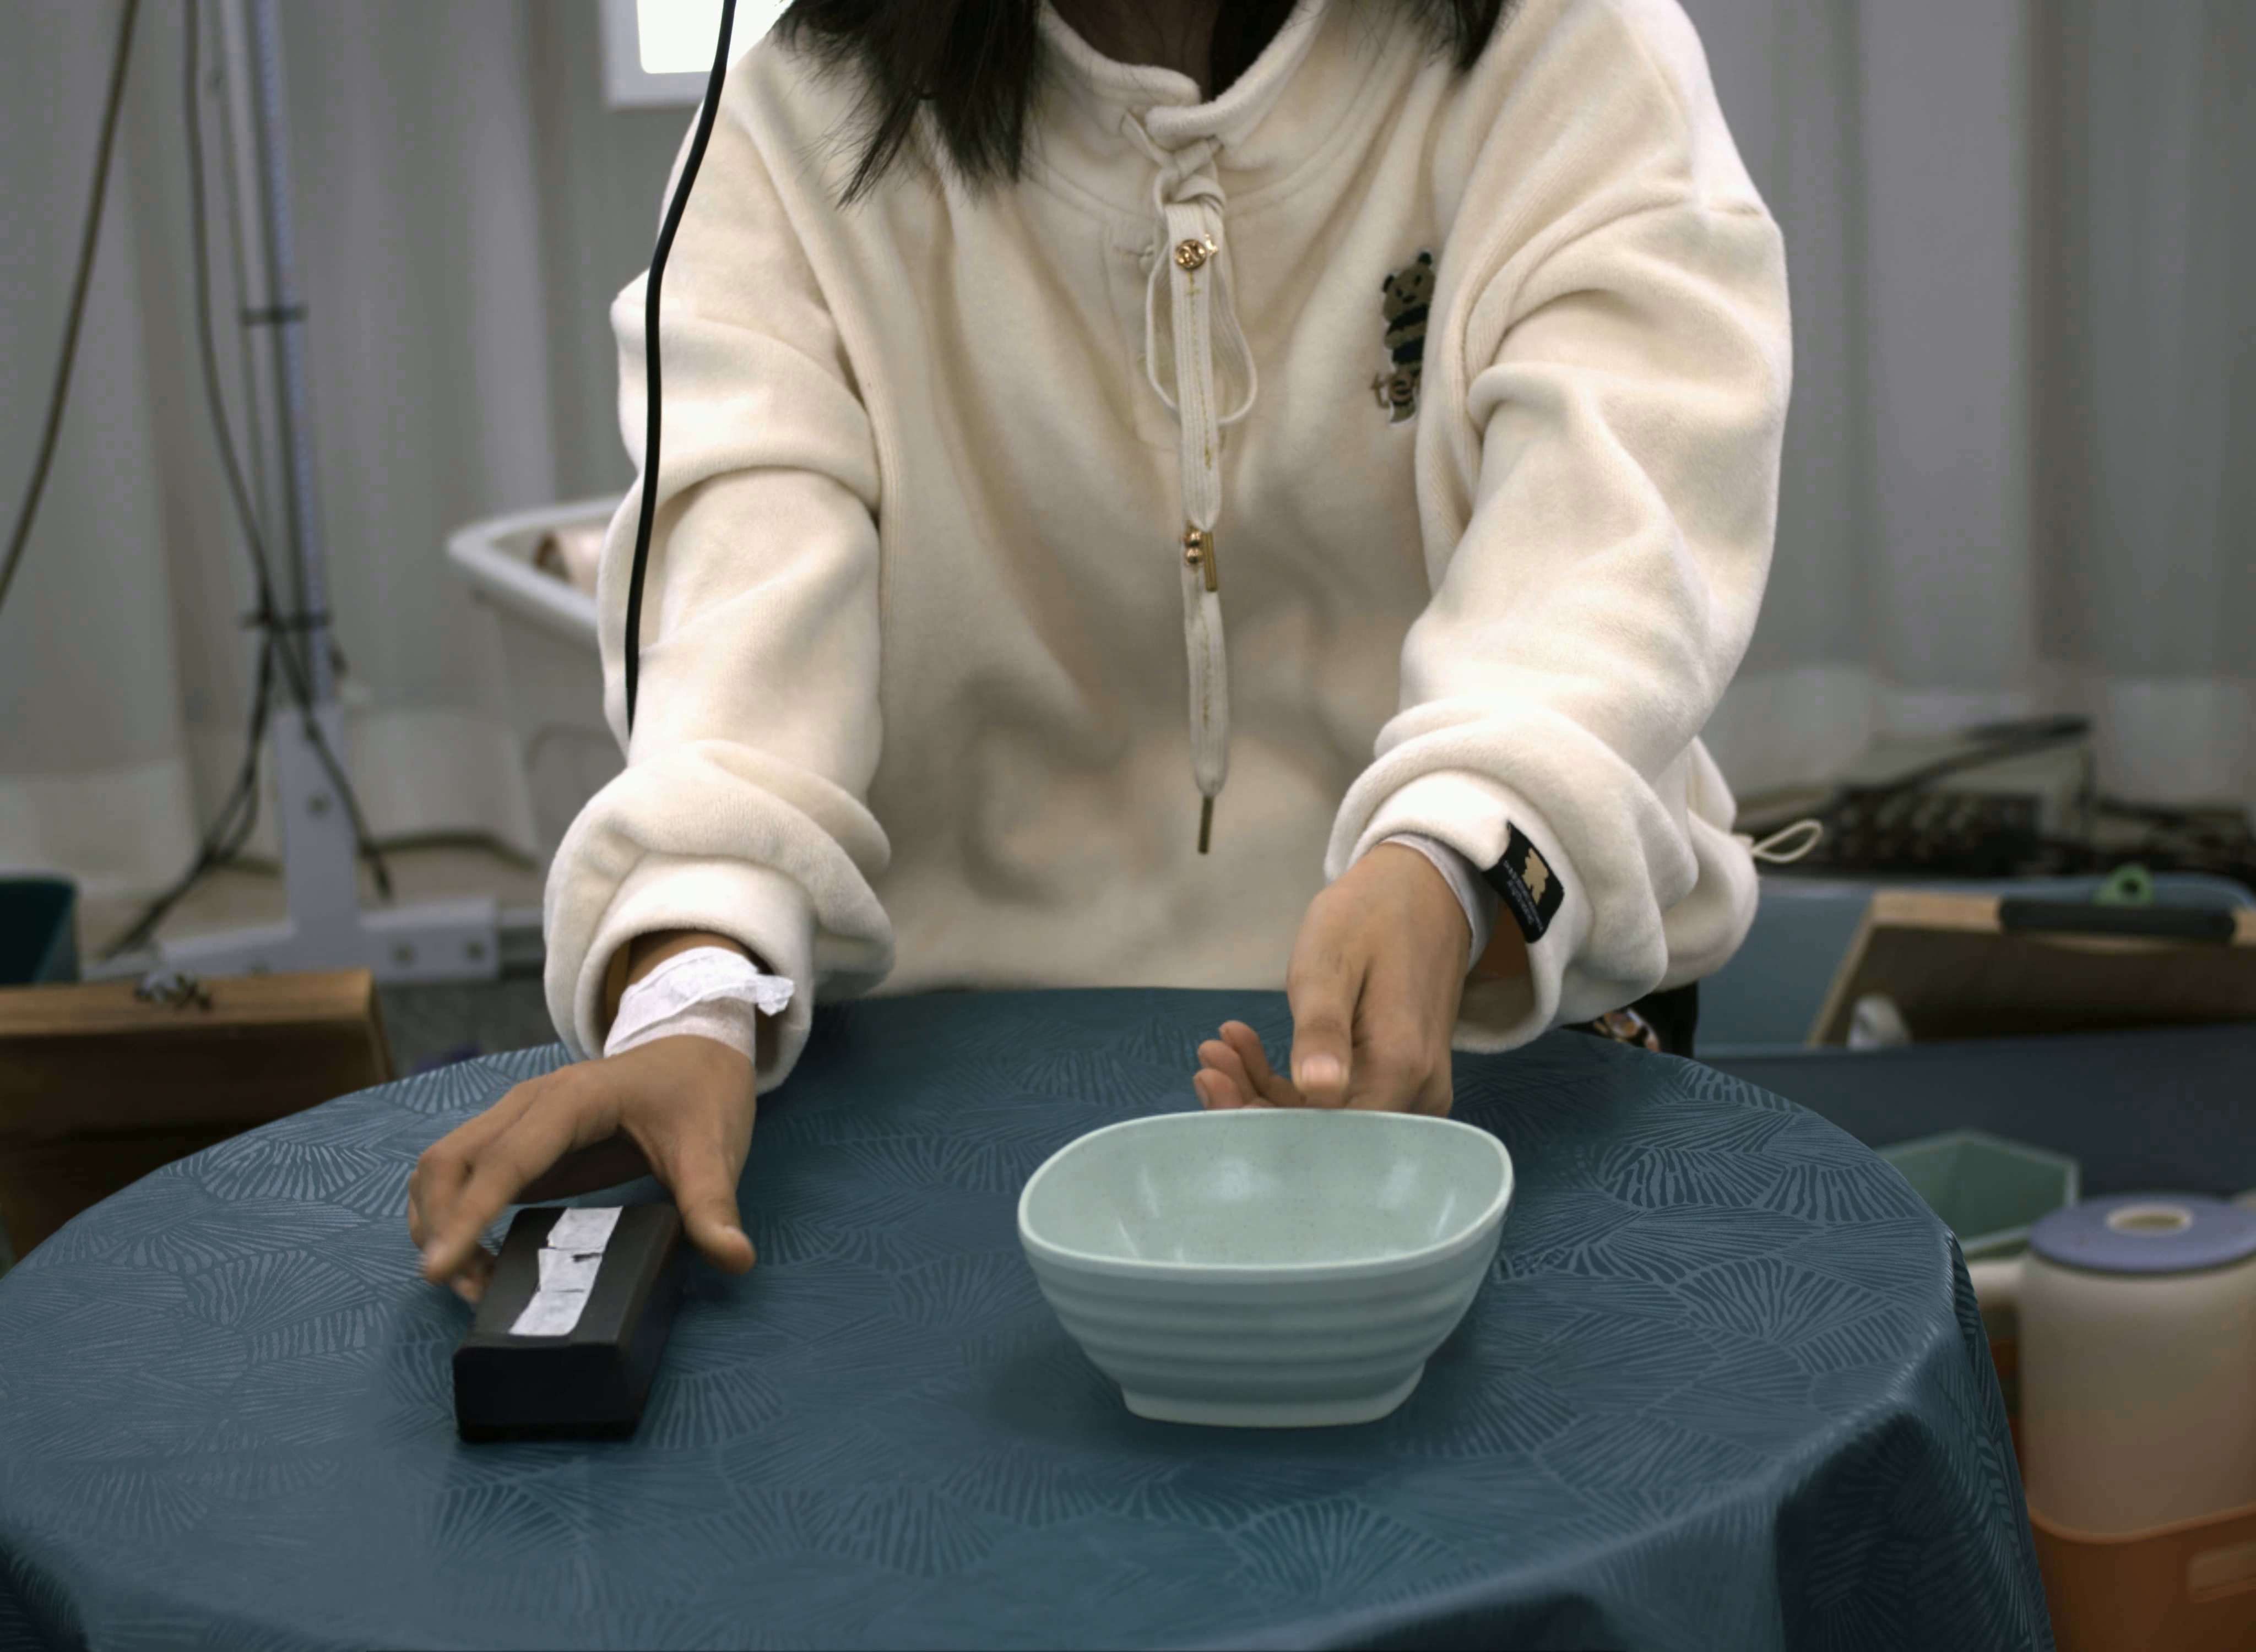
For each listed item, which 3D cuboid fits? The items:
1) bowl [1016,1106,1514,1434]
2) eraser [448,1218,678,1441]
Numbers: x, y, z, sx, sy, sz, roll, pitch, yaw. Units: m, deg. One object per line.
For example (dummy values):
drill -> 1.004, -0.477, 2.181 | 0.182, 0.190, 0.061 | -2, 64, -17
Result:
bowl -> 0.039, 0.129, 1.545 | 0.151, 0.058, 0.152 | 0, 16, 0
eraser -> -0.162, 0.145, 1.581 | 0.053, 0.030, 0.126 | -1, 13, 1
